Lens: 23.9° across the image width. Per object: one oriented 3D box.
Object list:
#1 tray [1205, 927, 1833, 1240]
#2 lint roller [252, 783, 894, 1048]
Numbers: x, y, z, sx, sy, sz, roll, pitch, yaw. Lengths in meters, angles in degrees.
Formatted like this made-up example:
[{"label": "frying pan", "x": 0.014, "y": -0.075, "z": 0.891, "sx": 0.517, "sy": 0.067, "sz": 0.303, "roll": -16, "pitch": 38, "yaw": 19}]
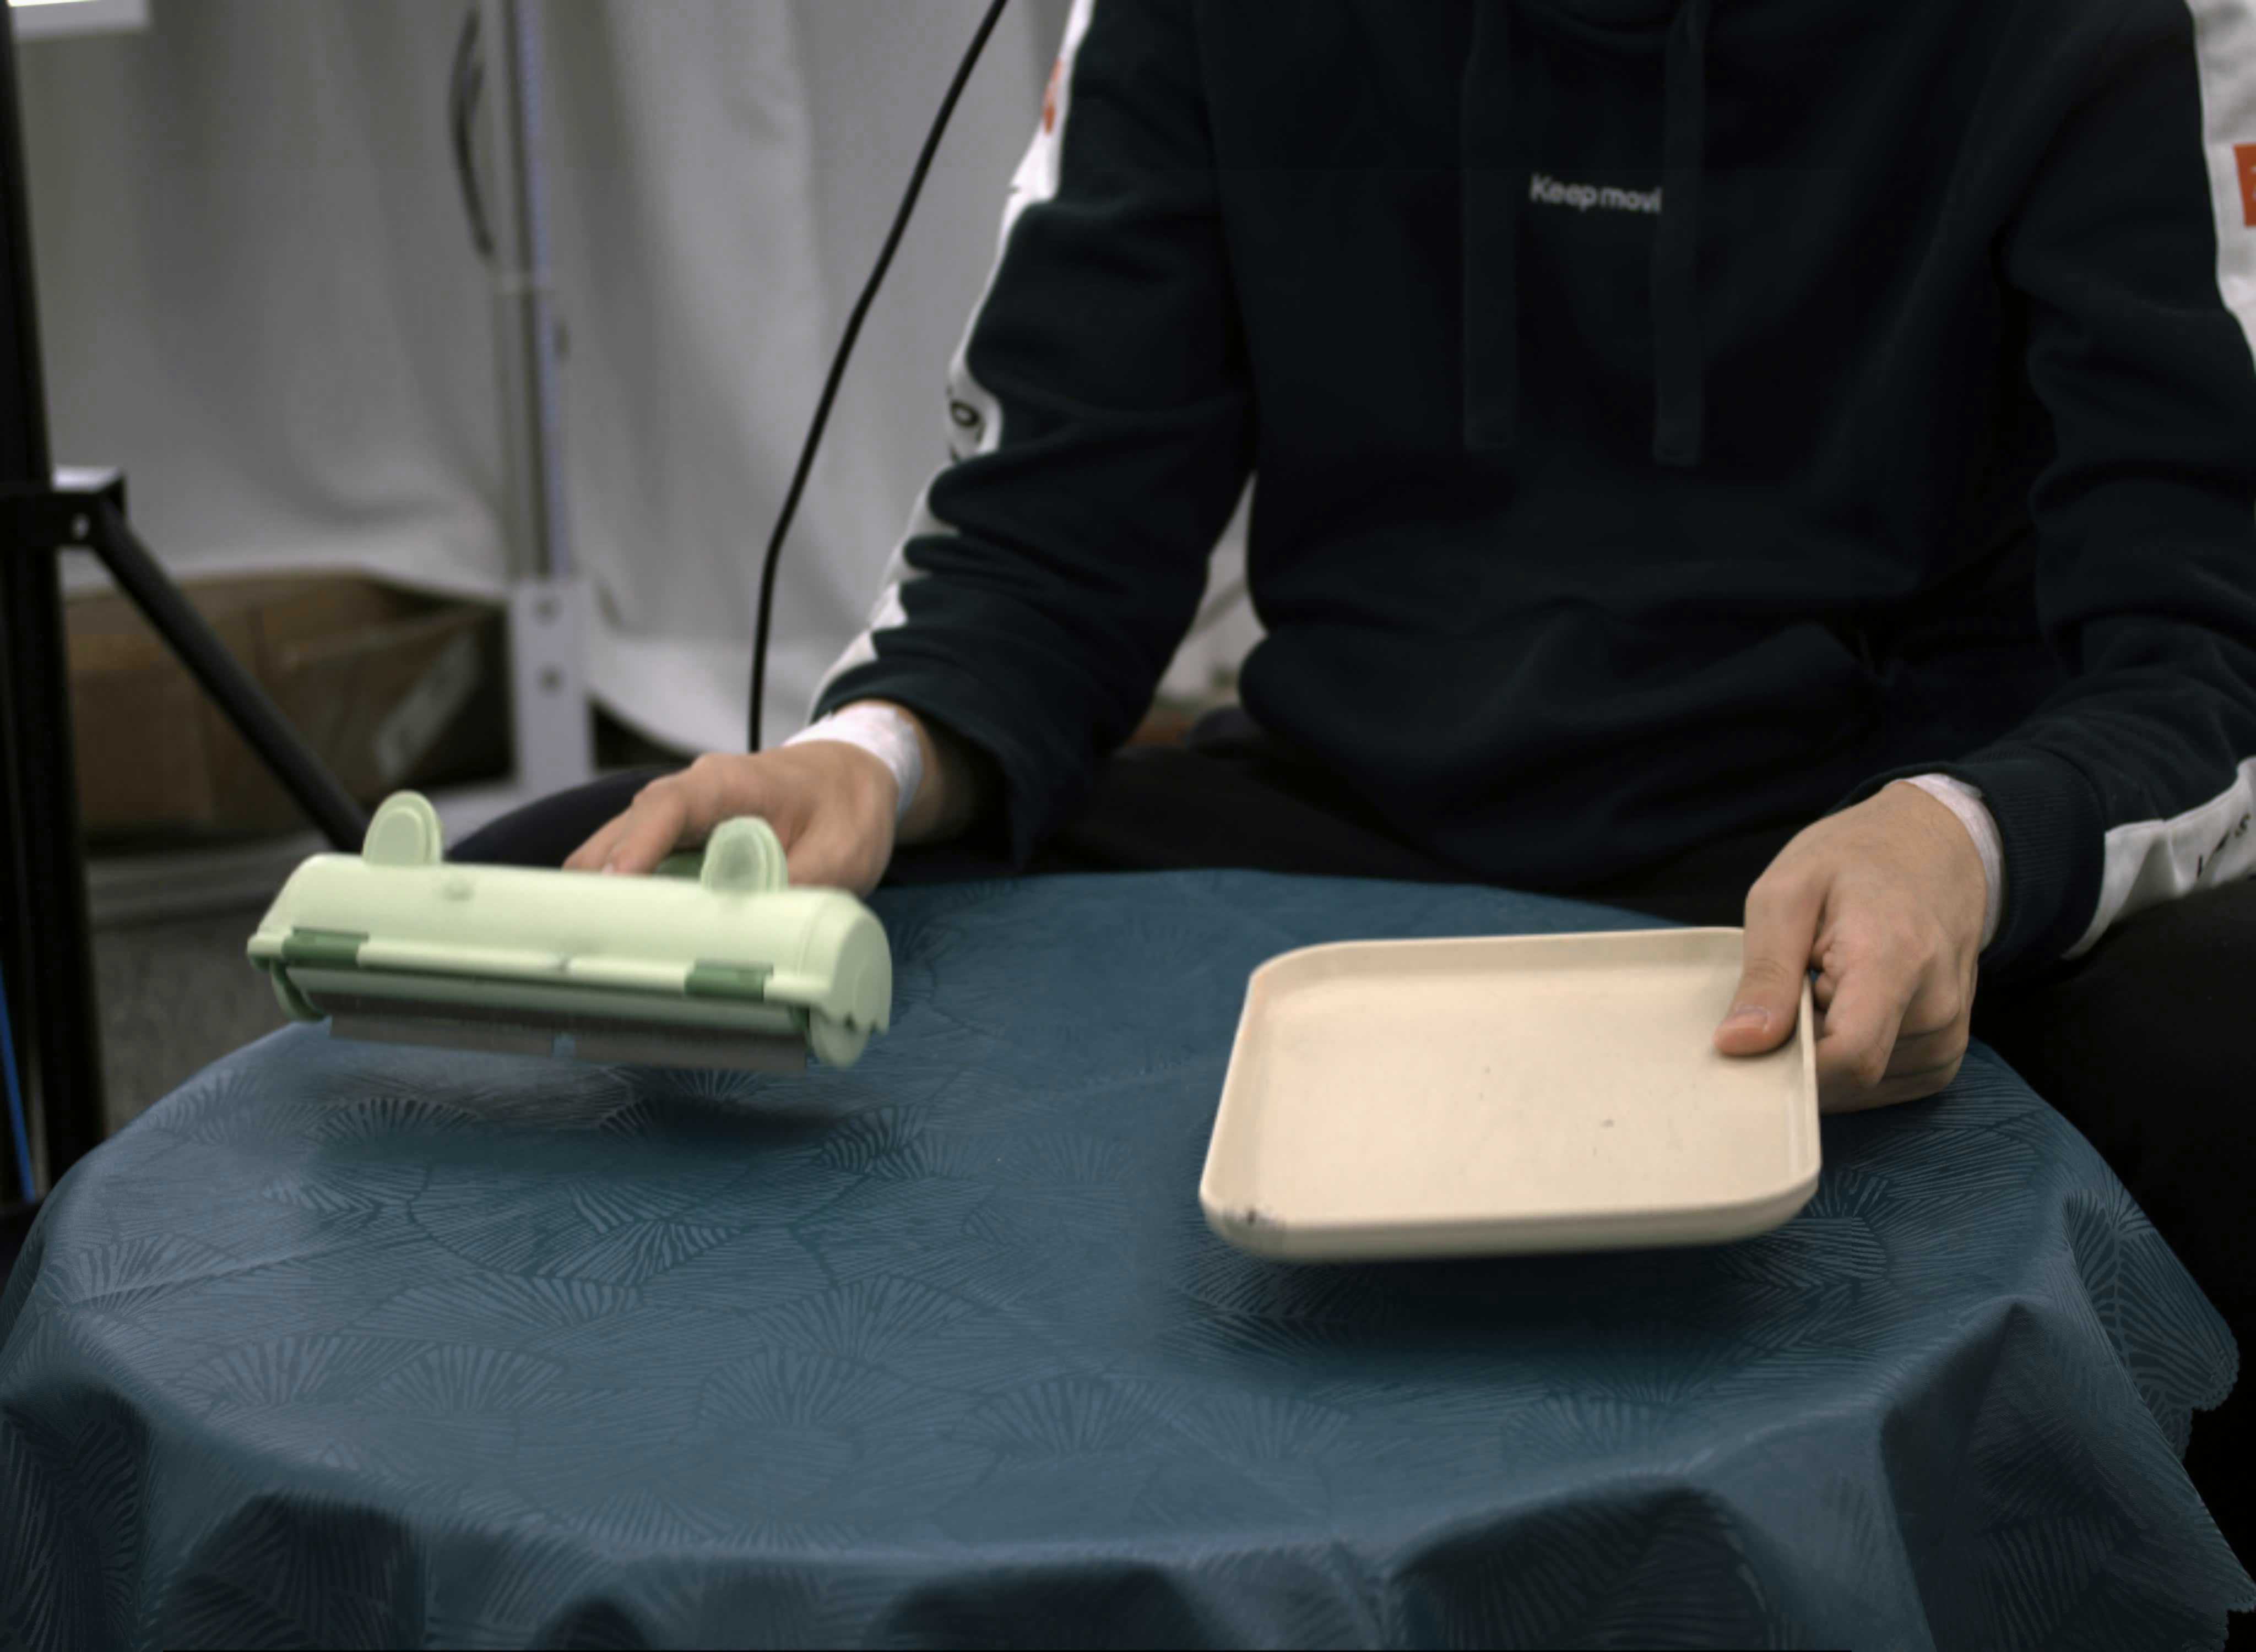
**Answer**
[{"label": "tray", "x": 0.112, "y": 0.073, "z": 1.514, "sx": 0.171, "sy": 0.017, "sz": 0.239, "roll": -1, "pitch": 16, "yaw": 6}, {"label": "lint roller", "x": -0.153, "y": 0.013, "z": 1.694, "sx": 0.201, "sy": 0.082, "sz": 0.181, "roll": 2, "pitch": 20, "yaw": 22}]
